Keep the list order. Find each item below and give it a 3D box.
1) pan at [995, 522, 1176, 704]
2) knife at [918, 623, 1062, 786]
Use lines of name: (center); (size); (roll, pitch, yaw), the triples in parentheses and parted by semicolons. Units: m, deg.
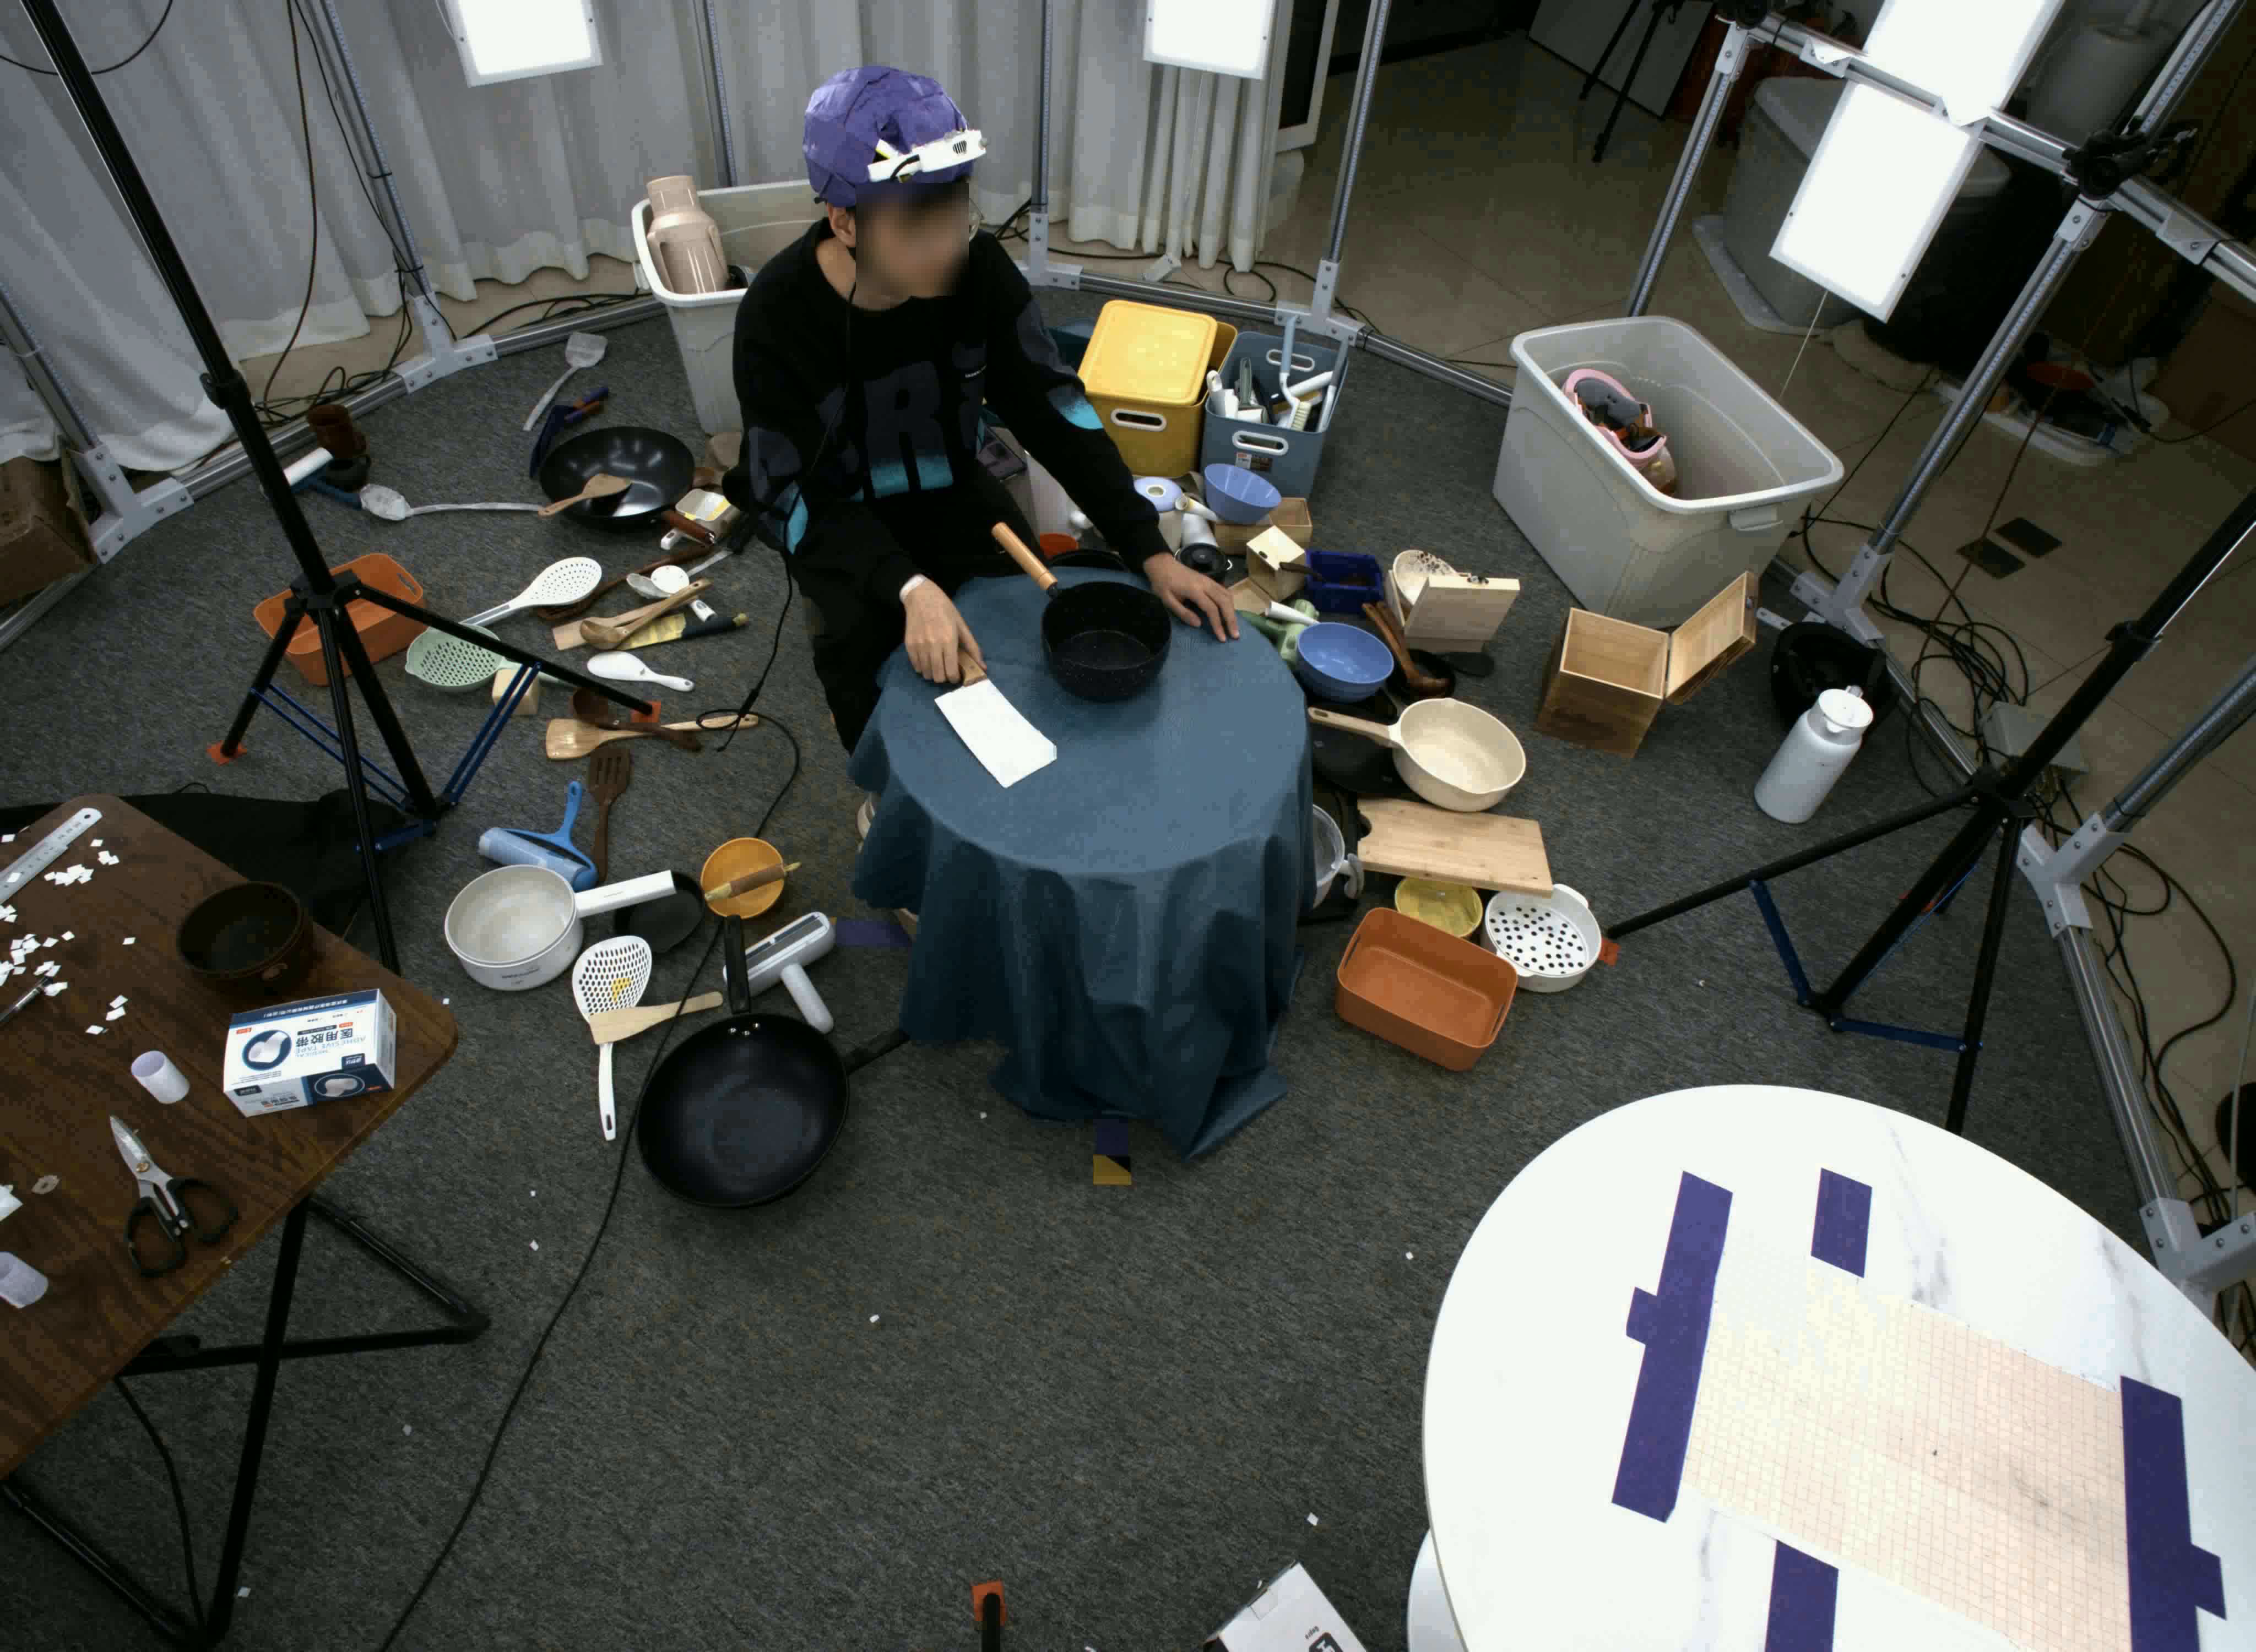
pan: (-0.081, -0.312, 1.863); (0.209, 0.105, 0.348); (-34, 60, -27)
knife: (-0.205, -0.177, 1.797); (0.114, 0.021, 0.322); (-23, 57, -22)
